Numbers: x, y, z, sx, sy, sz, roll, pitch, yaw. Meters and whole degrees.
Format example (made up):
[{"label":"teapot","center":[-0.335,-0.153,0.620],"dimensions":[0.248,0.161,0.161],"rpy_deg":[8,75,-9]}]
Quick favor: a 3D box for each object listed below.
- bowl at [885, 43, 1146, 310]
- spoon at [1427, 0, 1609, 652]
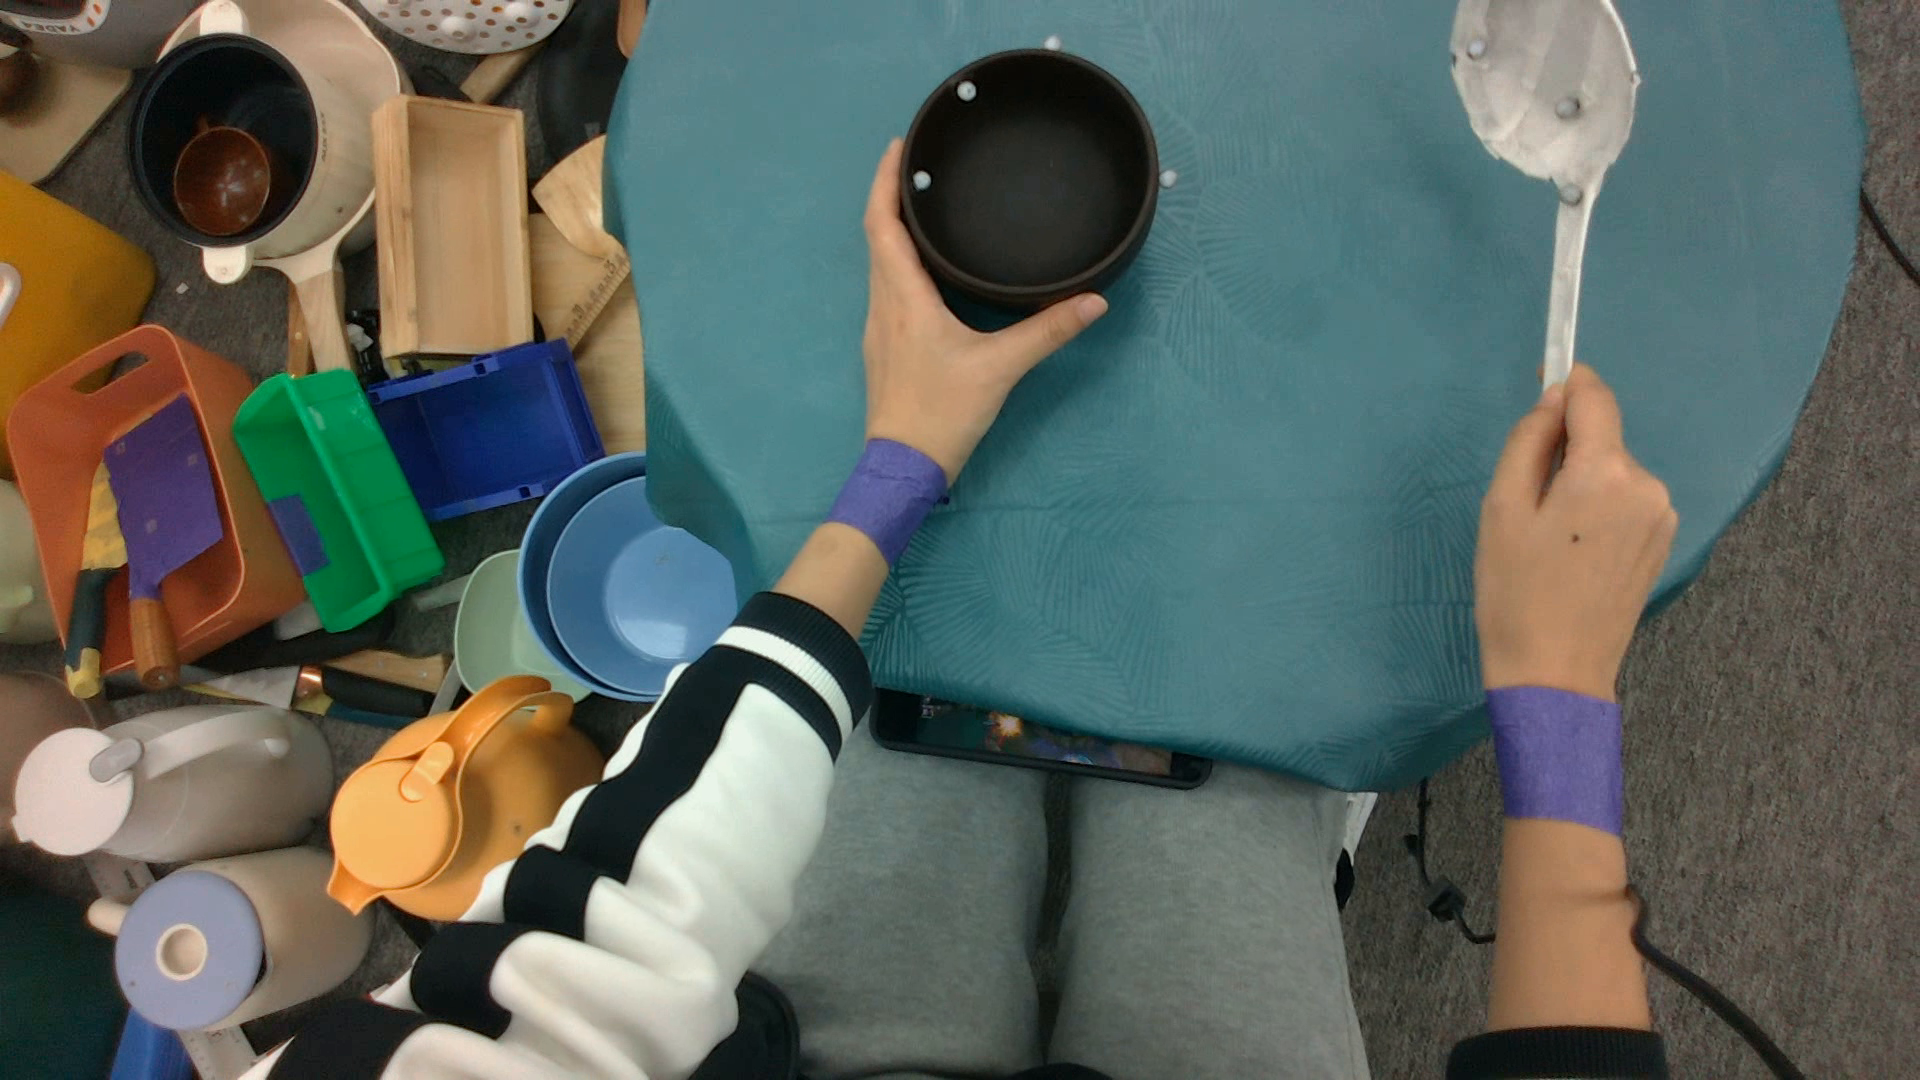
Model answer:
[{"label":"bowl","center":[0.027,-0.163,0.644],"dimensions":[0.118,0.070,0.118],"rpy_deg":[-1,82,5]},{"label":"spoon","center":[0.216,-0.093,0.574],"dimensions":[0.059,0.100,0.277],"rpy_deg":[6,94,-13]}]
